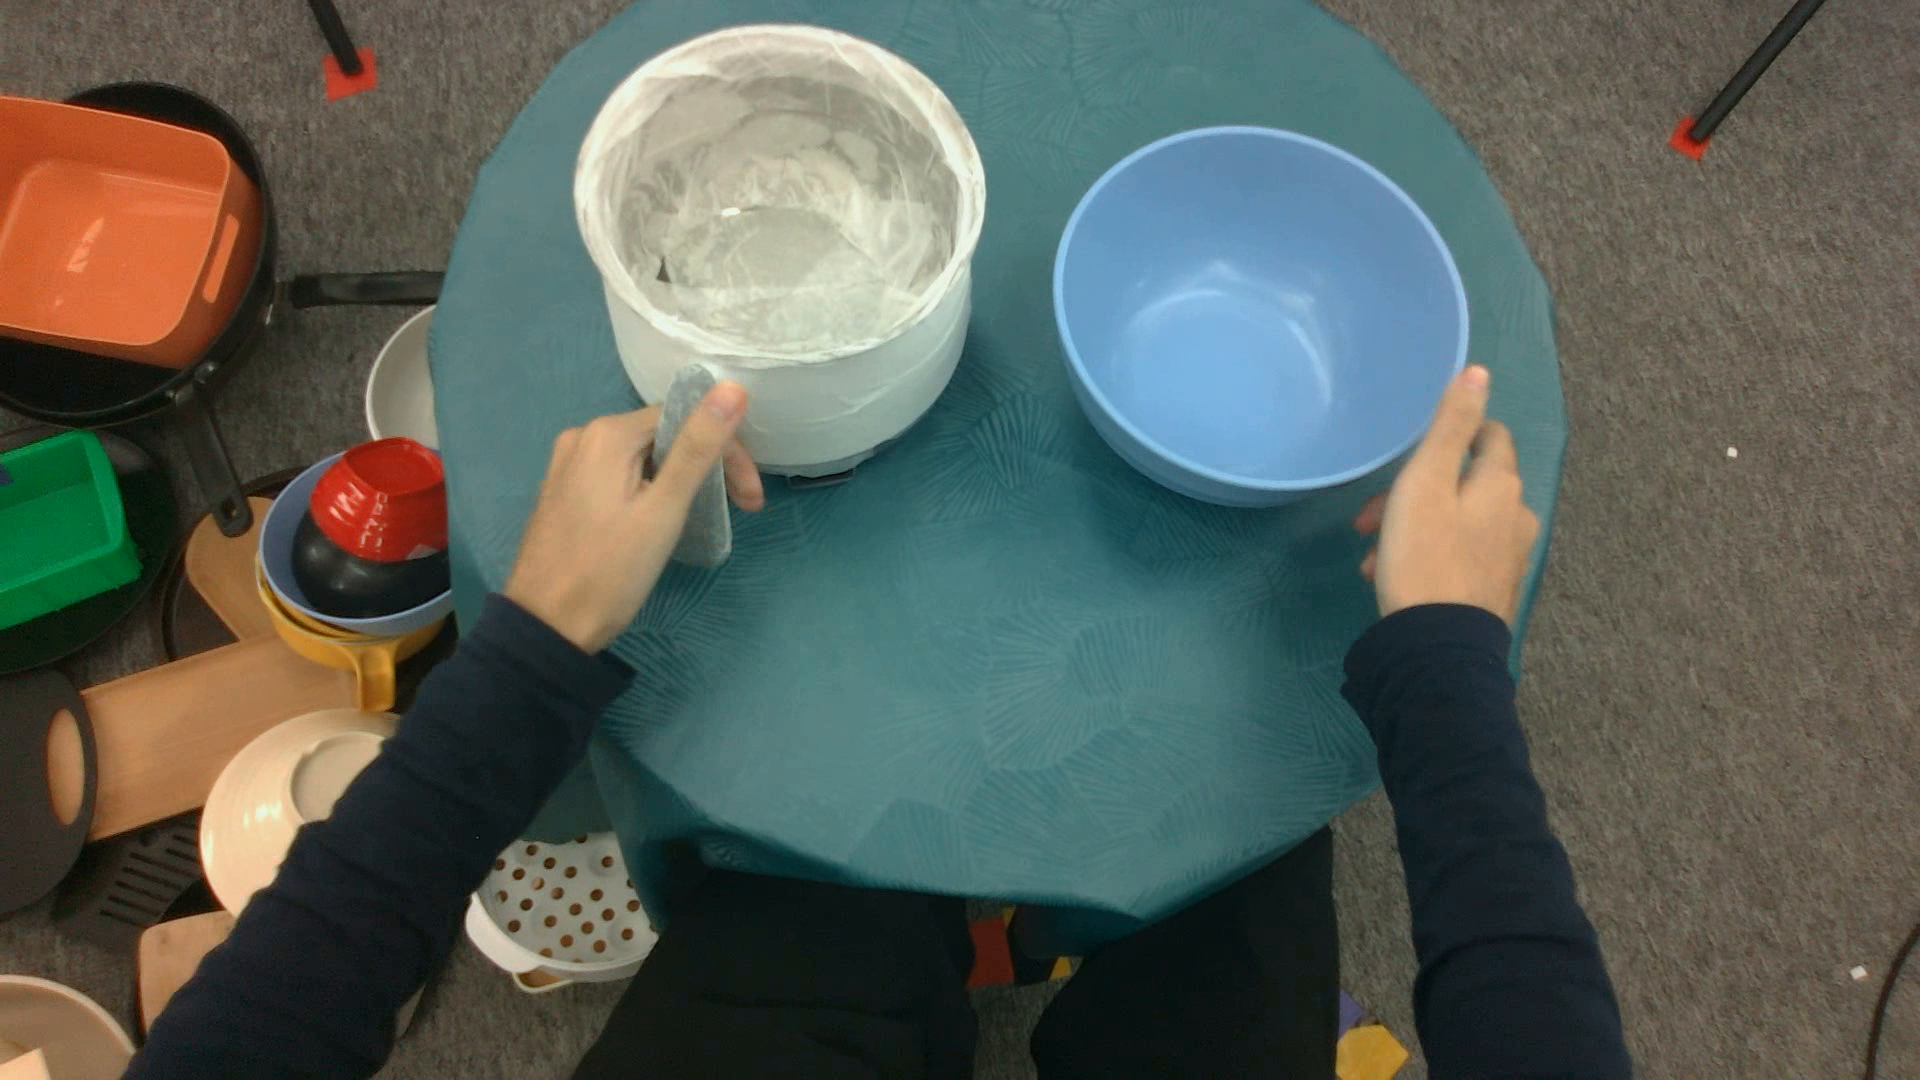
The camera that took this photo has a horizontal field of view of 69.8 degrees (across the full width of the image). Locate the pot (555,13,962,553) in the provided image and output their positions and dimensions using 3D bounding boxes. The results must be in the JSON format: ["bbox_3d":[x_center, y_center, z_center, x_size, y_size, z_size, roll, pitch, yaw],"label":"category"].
[{"bbox_3d":[-0.098,-0.113,0.650,0.178,0.136,0.234,15,67,3],"label":"pot"}]

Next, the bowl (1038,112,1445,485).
[{"bbox_3d":[0.129,-0.105,0.689,0.196,0.095,0.197,3,65,-6],"label":"bowl"}]
